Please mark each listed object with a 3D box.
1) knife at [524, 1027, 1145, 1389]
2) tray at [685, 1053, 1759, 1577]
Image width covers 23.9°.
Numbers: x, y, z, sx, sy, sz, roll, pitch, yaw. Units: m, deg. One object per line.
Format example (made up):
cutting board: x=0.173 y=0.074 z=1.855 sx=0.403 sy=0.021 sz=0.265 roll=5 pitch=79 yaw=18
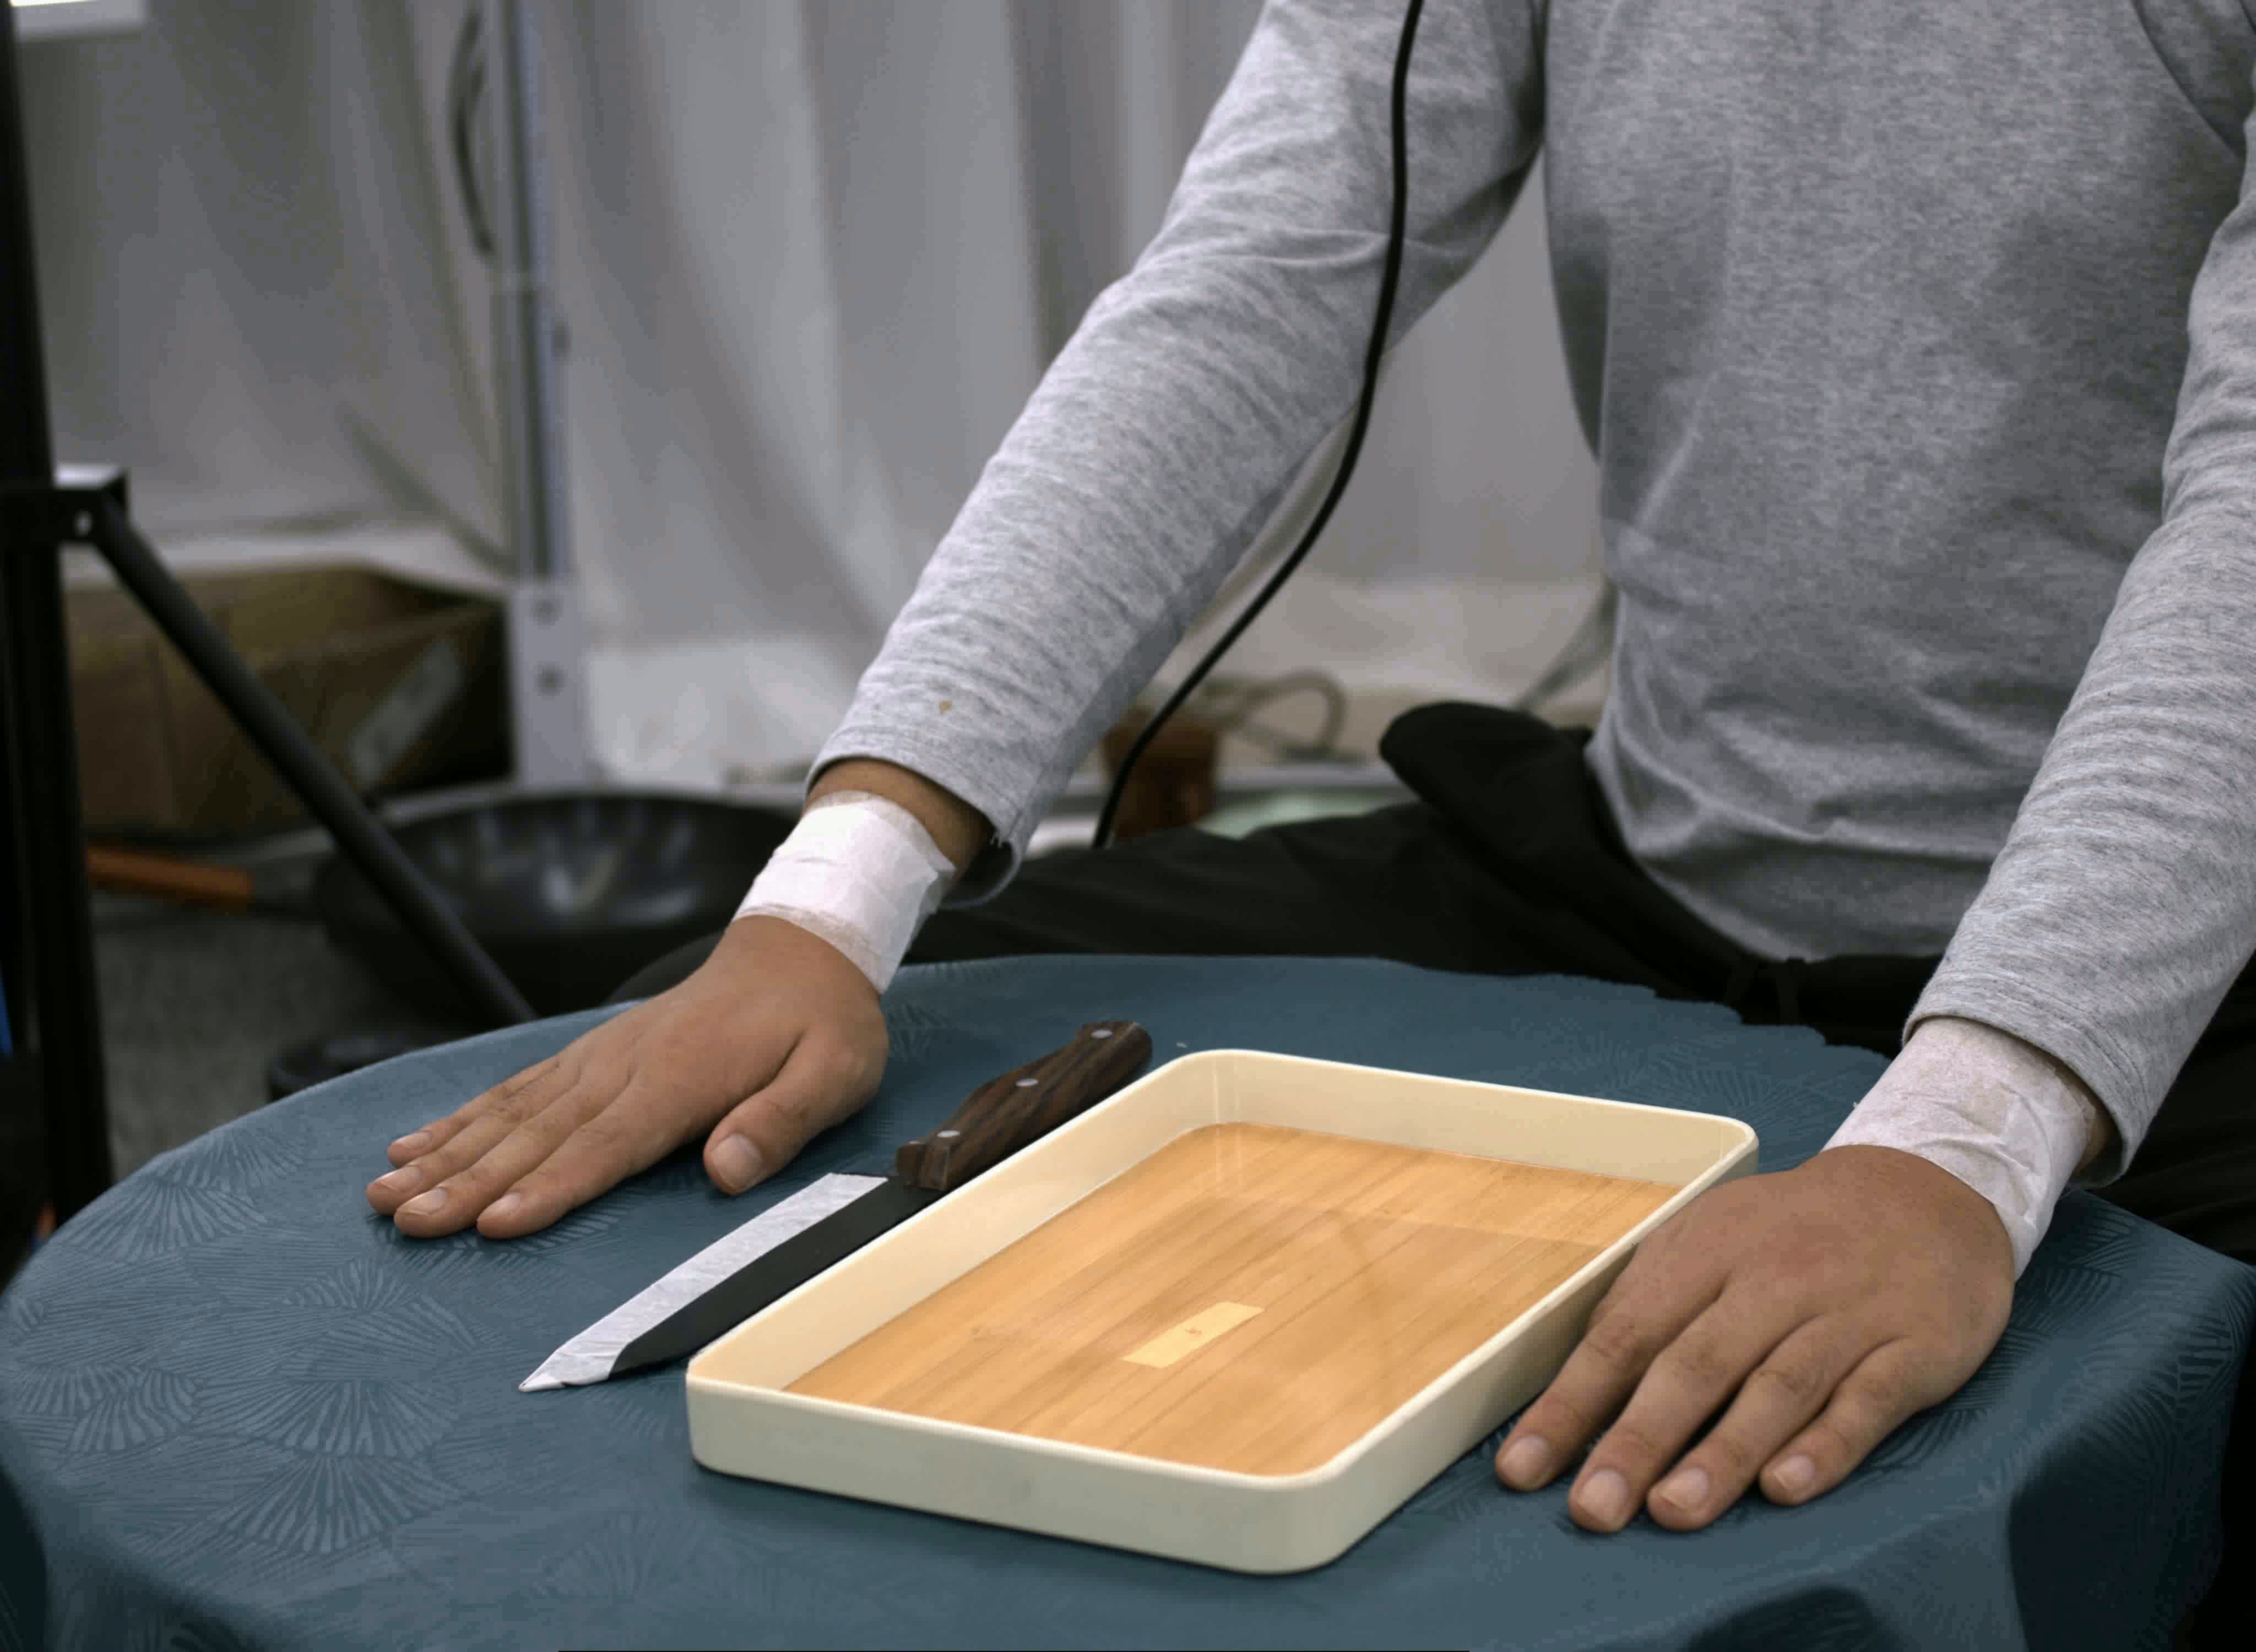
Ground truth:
knife: x=-0.079 y=0.111 z=1.538 sx=0.051 sy=0.020 sz=0.283 roll=3 pitch=18 yaw=35
tray: x=0.034 y=0.126 z=1.444 sx=0.195 sy=0.027 sz=0.295 roll=7 pitch=18 yaw=29
